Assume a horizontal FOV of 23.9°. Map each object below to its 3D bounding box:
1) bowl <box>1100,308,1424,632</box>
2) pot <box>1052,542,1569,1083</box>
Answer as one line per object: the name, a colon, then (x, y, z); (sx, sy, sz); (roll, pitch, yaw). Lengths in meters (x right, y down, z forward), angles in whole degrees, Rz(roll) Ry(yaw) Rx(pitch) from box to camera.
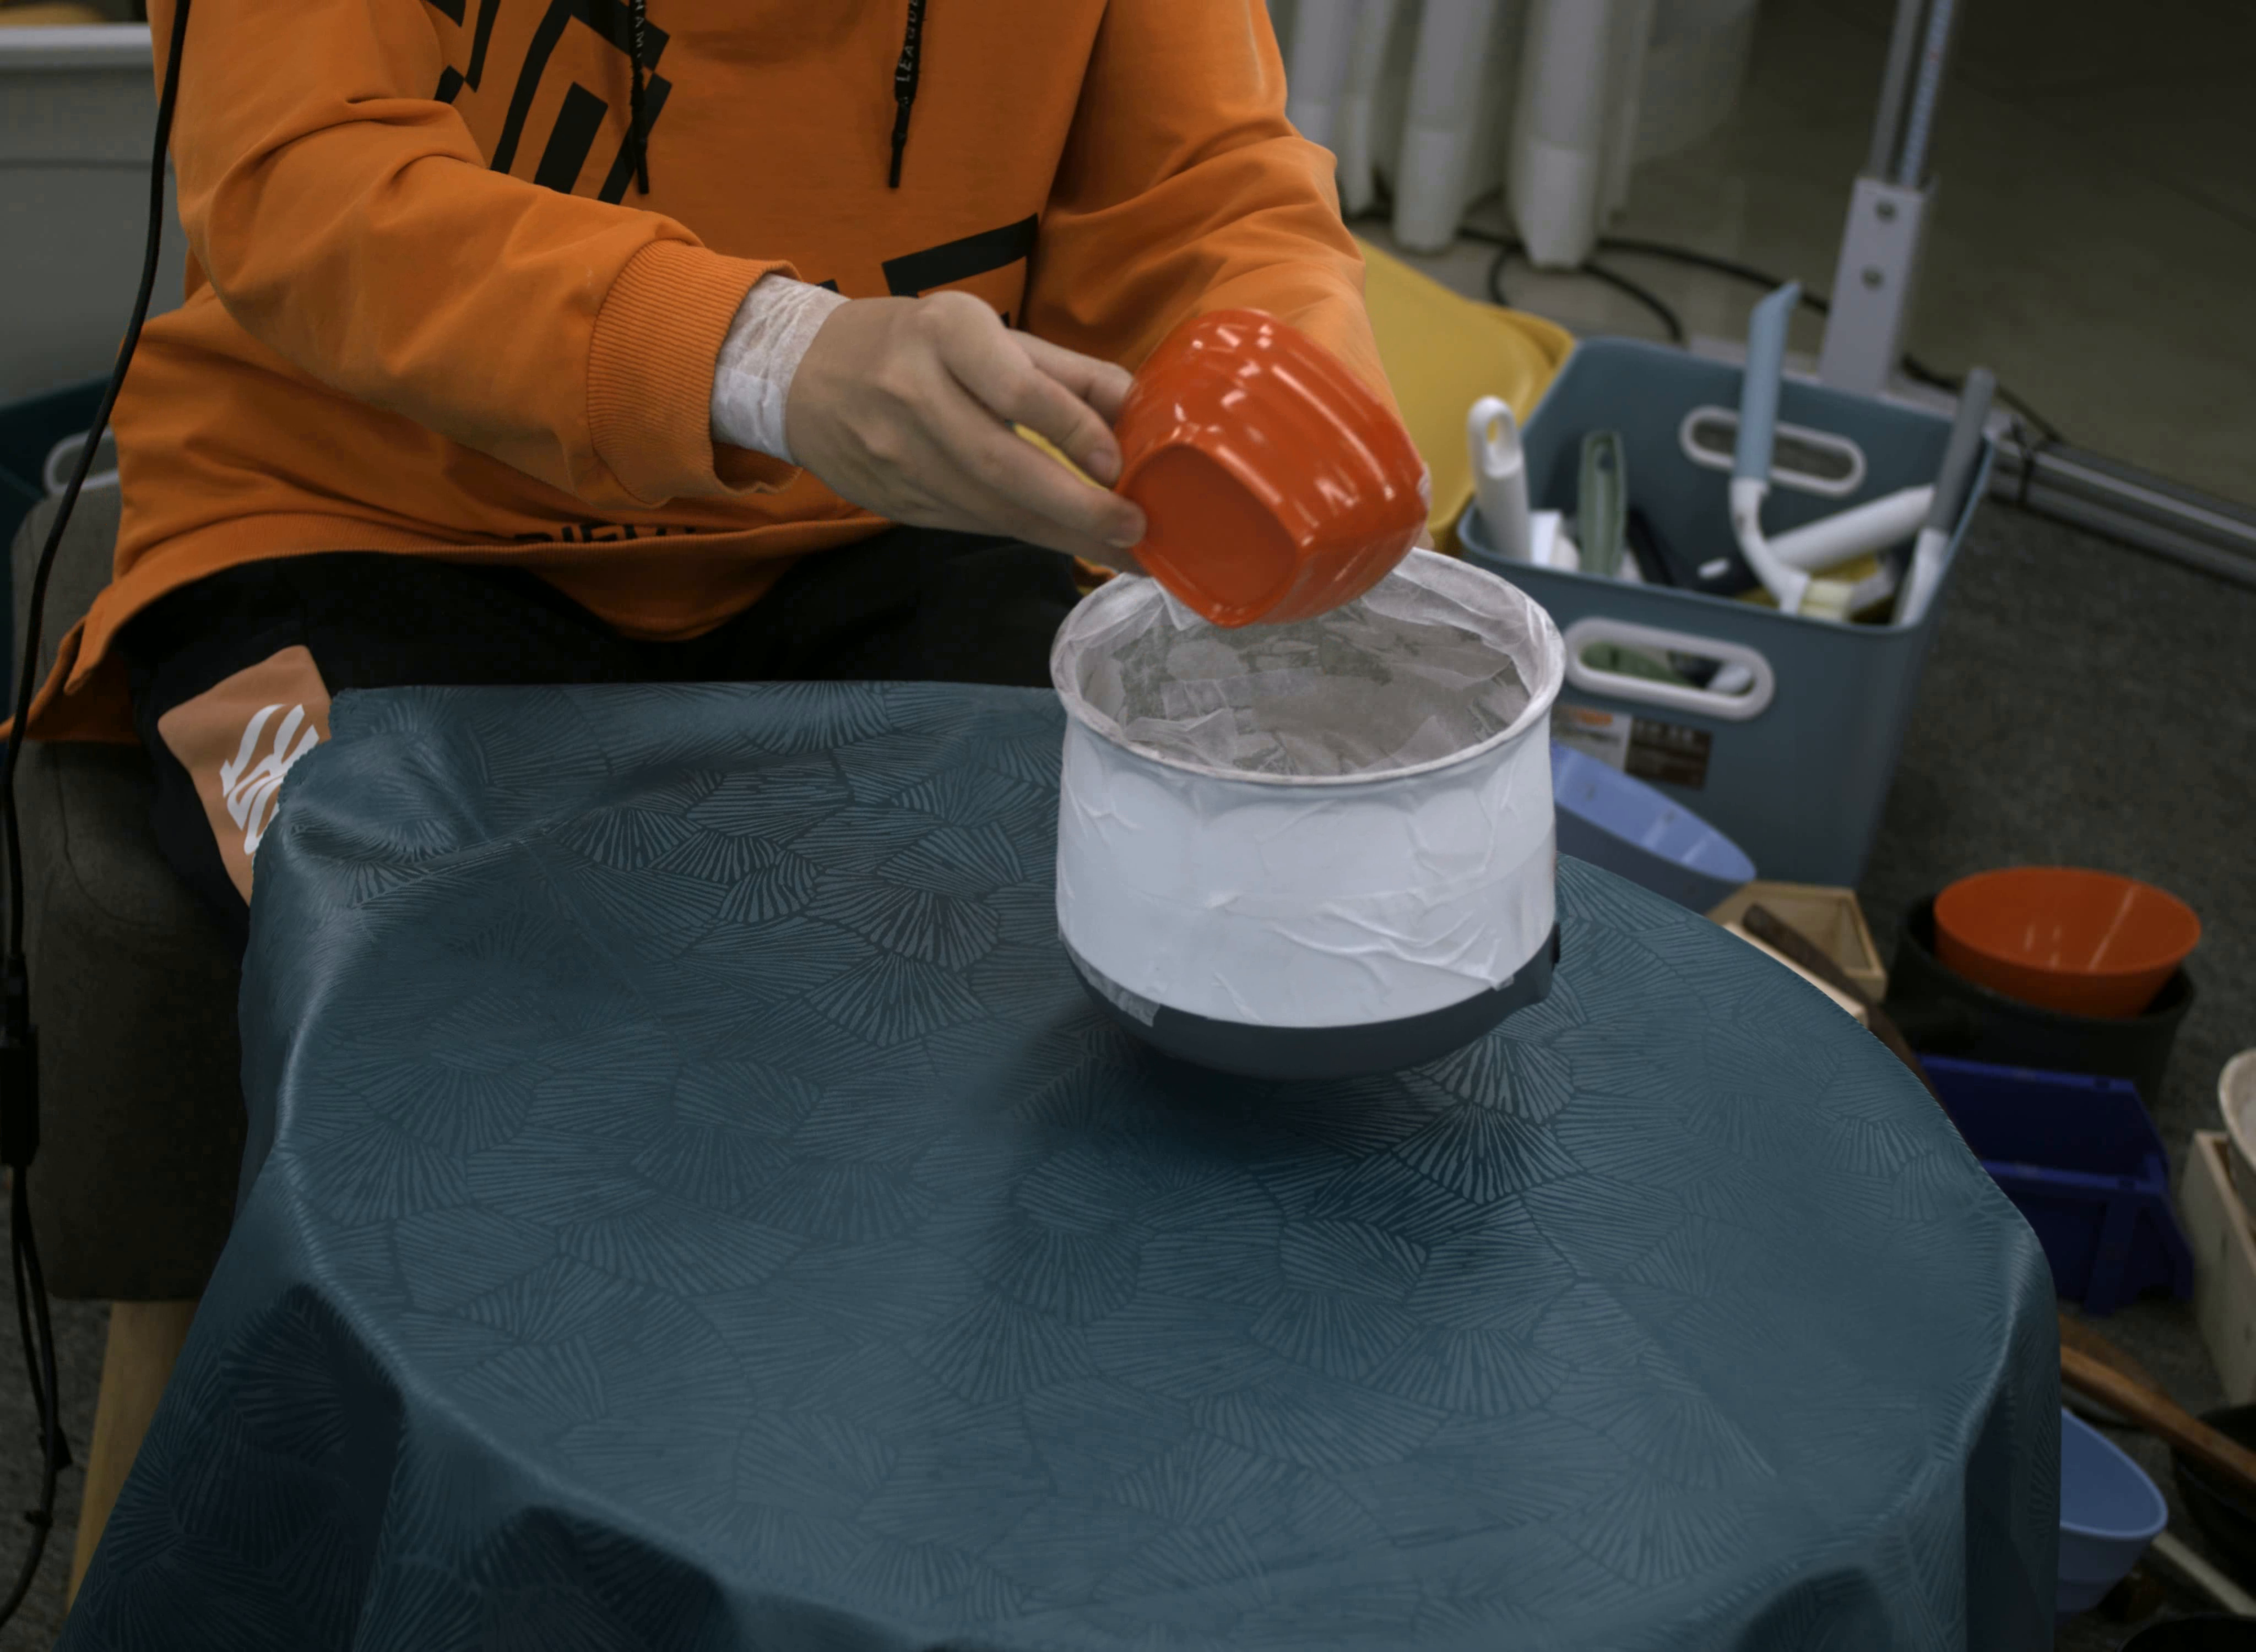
bowl: (0.035, -0.109, 1.773); (0.119, 0.118, 0.051); (21, 47, 25)
pot: (0.064, -0.019, 1.874); (0.178, 0.136, 0.235); (1, 30, 3)
